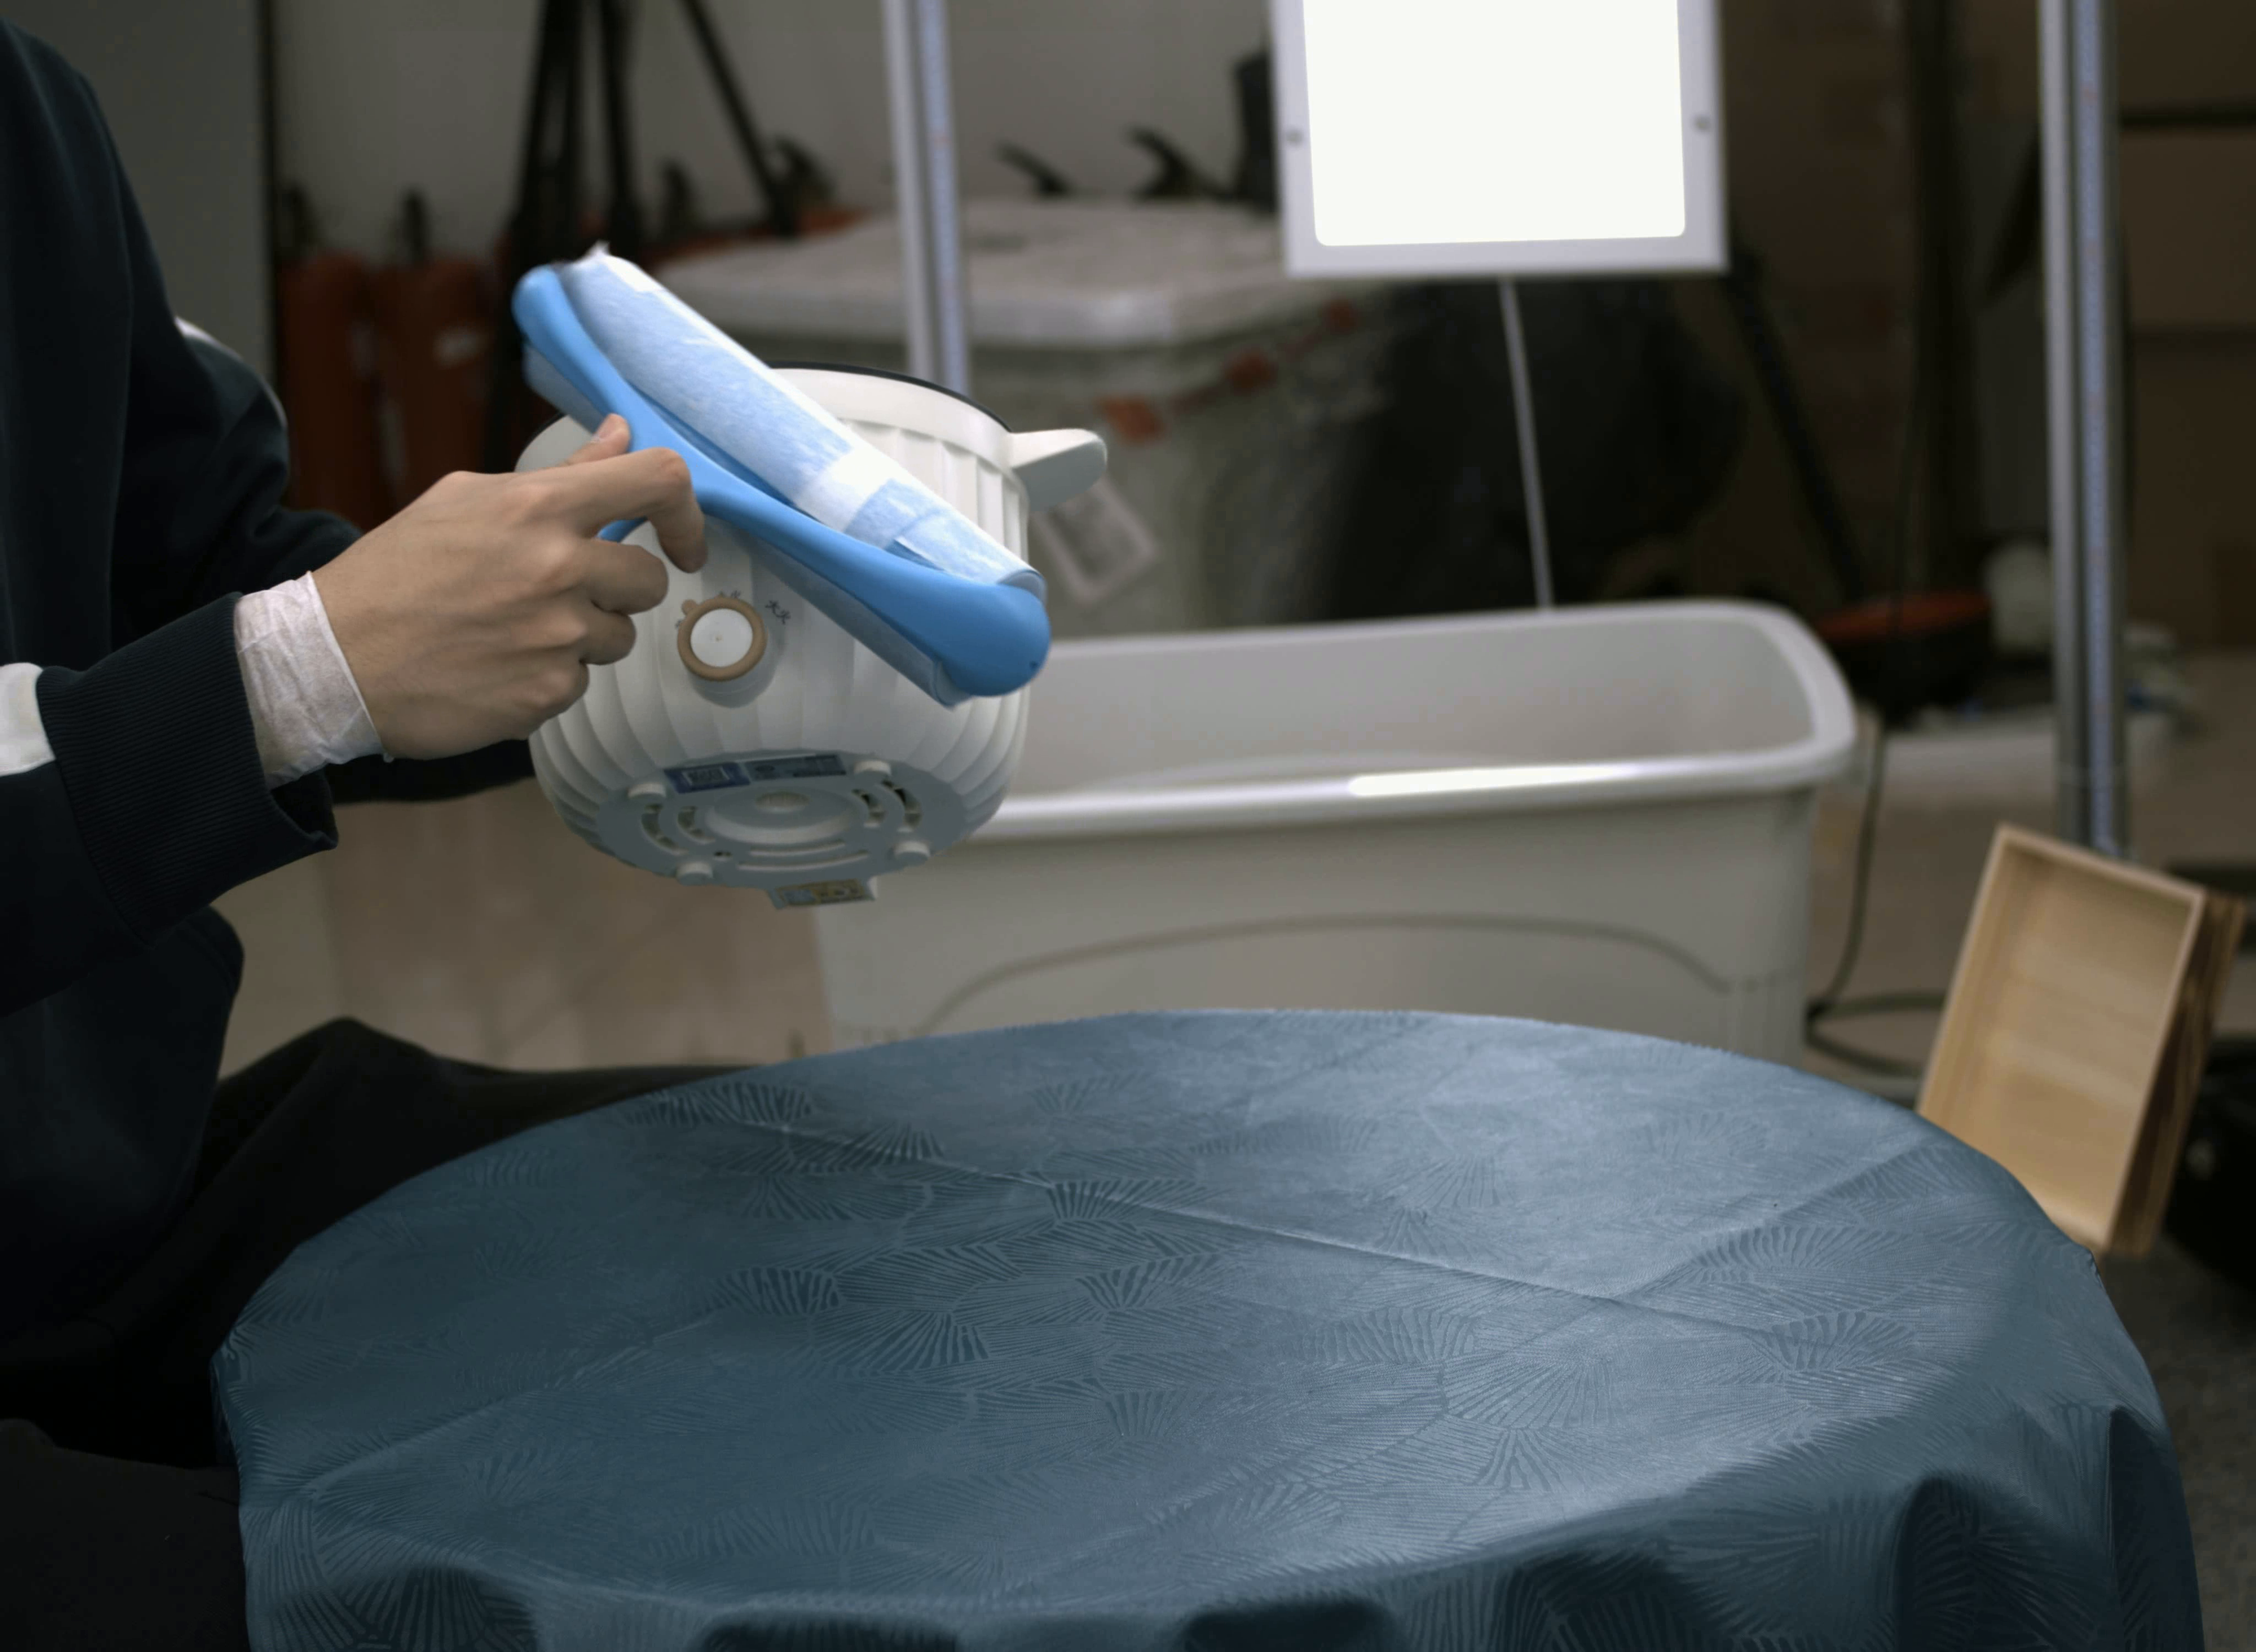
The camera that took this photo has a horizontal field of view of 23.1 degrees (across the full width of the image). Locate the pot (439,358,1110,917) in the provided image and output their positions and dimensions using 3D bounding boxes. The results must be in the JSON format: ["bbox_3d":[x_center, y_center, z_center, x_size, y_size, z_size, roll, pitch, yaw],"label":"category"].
[{"bbox_3d":[-0.121,-0.064,1.918,0.241,0.142,0.190,-6,-26,6],"label":"pot"}]

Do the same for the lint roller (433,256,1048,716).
[{"bbox_3d":[-0.152,-0.094,1.778,0.231,0.069,0.176,35,43,20],"label":"lint roller"}]
